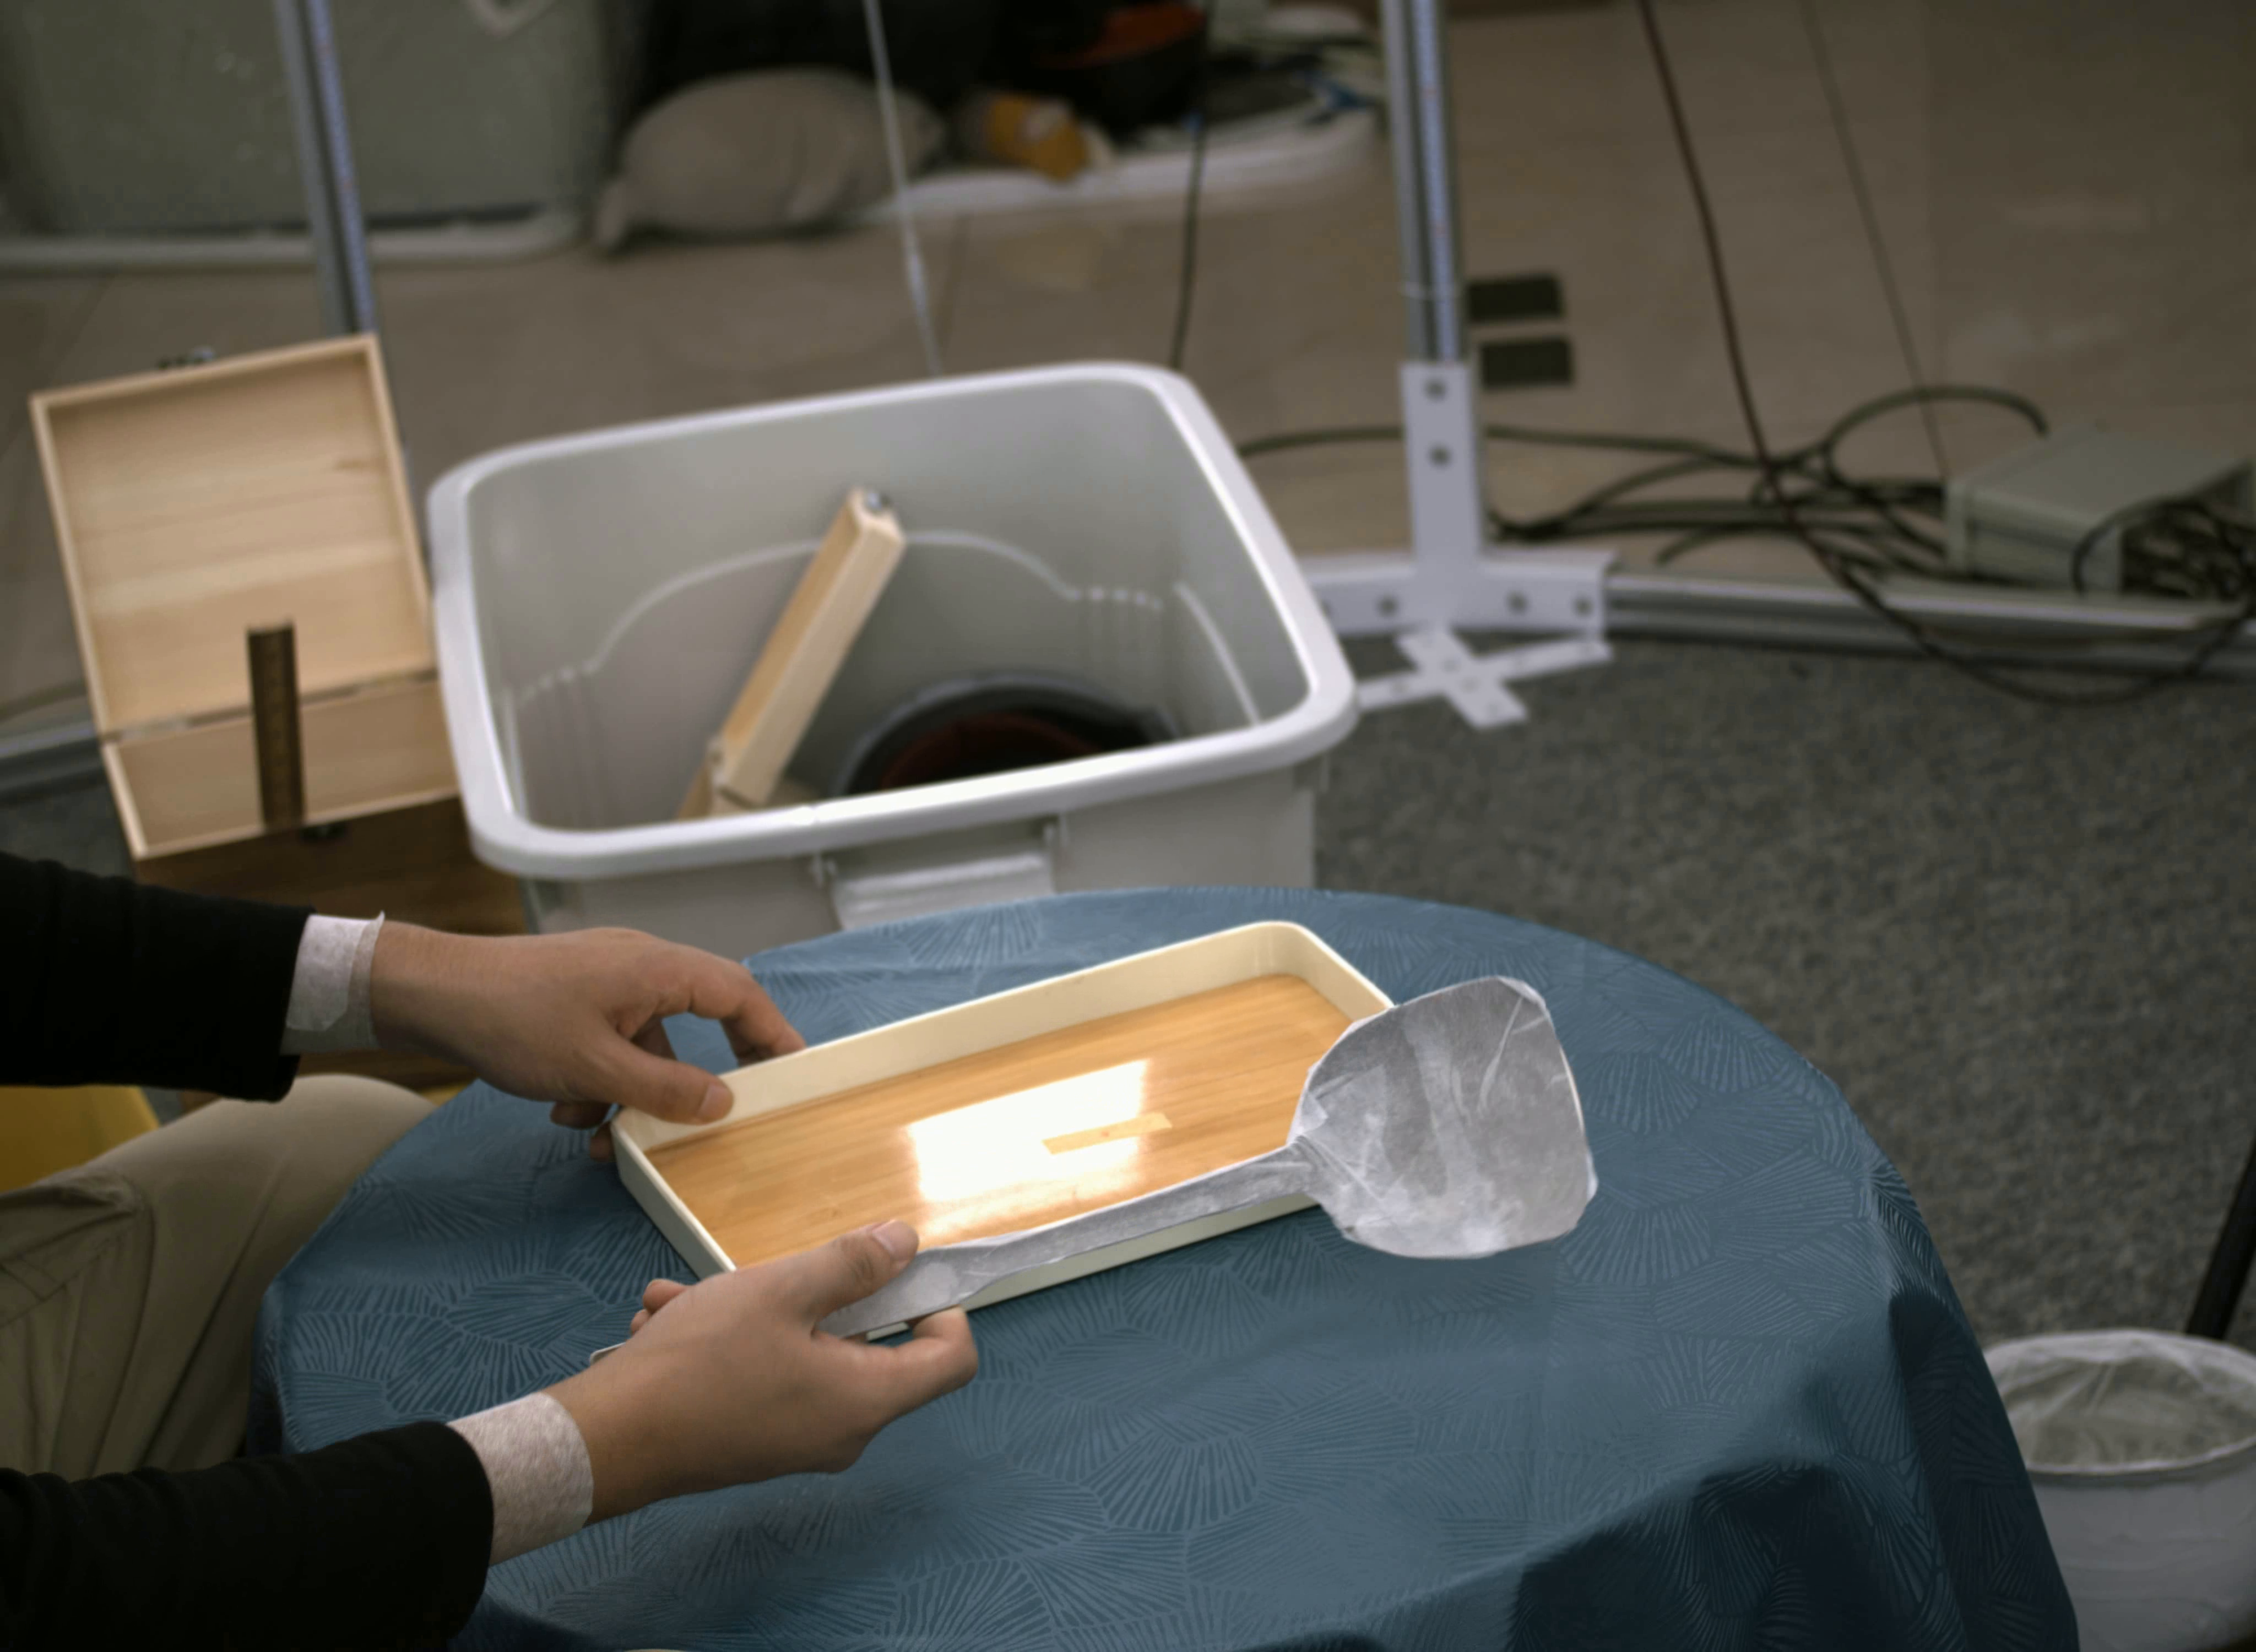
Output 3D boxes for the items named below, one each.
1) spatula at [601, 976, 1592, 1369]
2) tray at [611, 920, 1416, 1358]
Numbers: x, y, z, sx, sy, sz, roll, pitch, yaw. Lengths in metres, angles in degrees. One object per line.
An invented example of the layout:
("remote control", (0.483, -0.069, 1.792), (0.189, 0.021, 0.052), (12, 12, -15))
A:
("spatula", (-0.007, 0.138, 1.980), (0.363, 0.099, 0.045), (-15, 7, -23))
("tray", (-0.032, 0.116, 2.172), (0.299, 0.028, 0.189), (-15, 26, -18))
